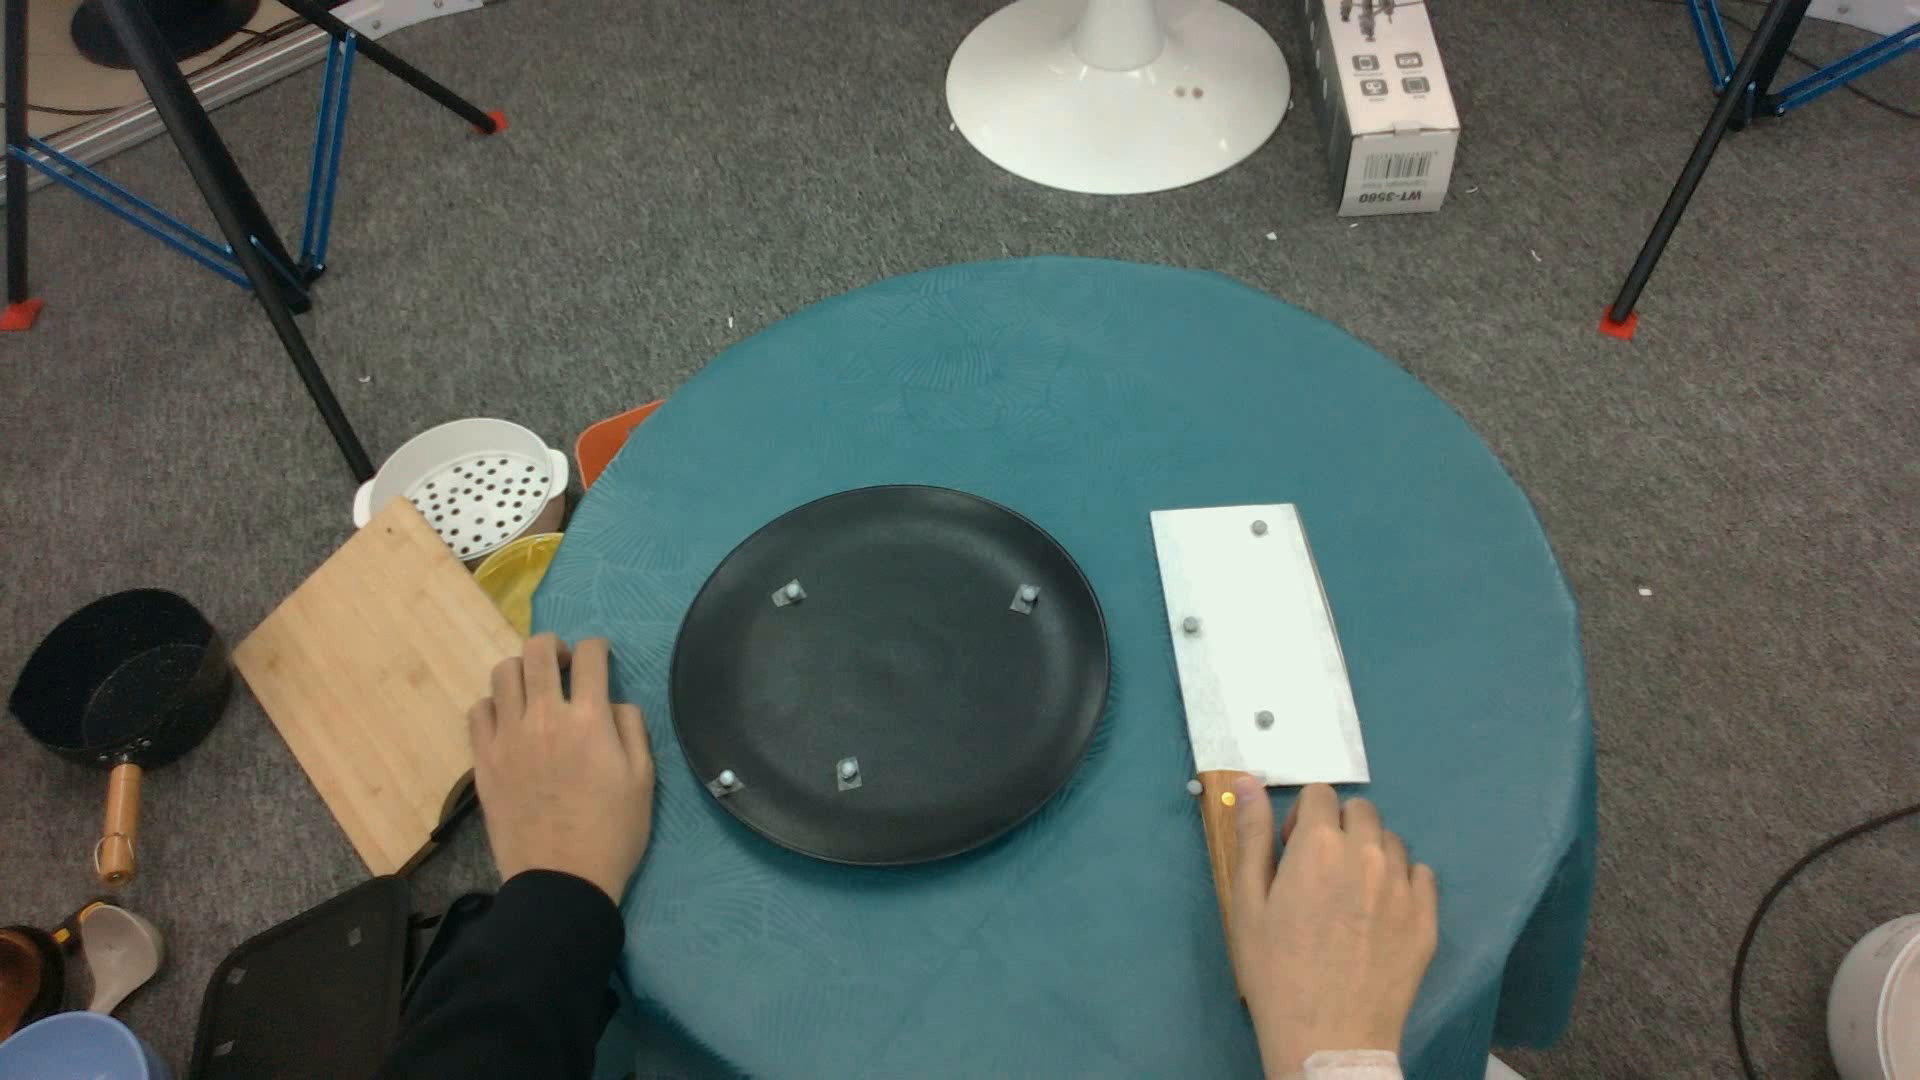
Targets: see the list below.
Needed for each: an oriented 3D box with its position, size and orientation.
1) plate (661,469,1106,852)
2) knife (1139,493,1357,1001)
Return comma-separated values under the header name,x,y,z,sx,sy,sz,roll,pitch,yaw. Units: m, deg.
name,x,y,z,sx,sy,sz,roll,pitch,yaw
plate,-0.042,0.062,0.762,0.244,0.023,0.245,-1,54,1
knife,0.160,0.092,0.738,0.093,0.021,0.307,-3,51,-2
